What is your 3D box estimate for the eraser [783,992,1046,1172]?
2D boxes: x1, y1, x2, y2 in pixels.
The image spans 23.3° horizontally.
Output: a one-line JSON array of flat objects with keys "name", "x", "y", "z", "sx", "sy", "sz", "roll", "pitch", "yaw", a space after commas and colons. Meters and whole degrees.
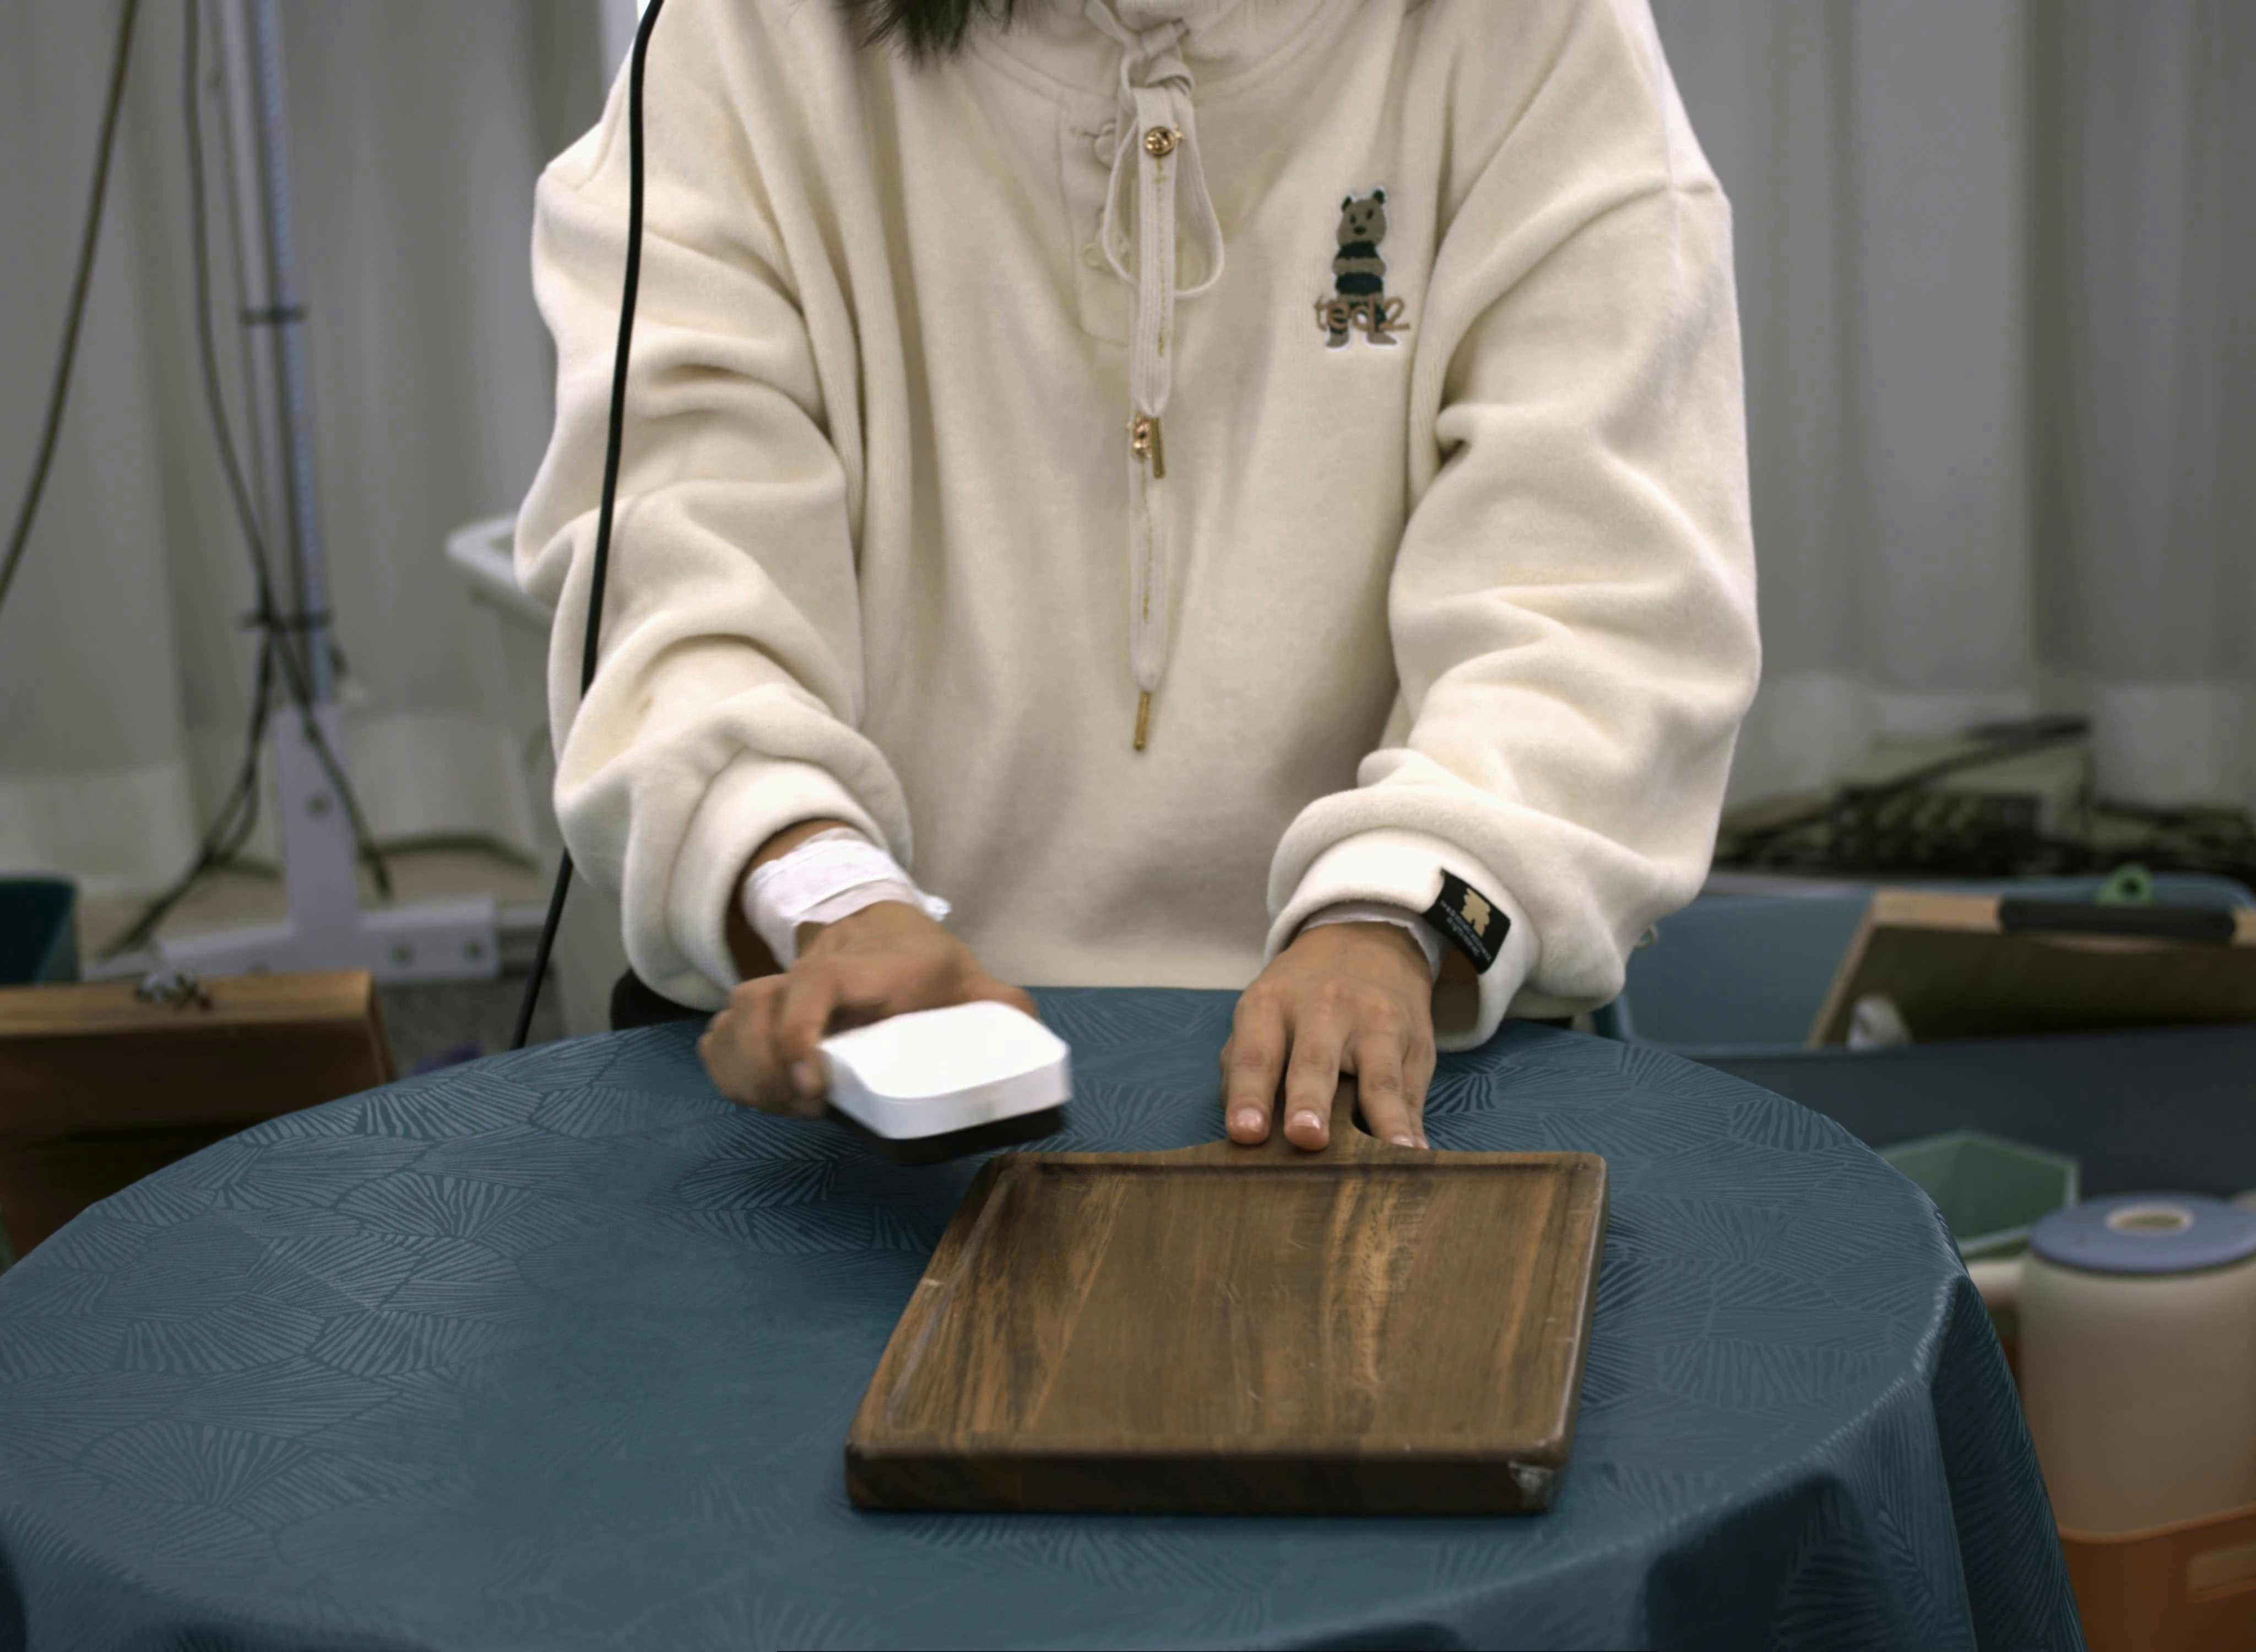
[{"name": "eraser", "x": -0.065, "y": 0.077, "z": 1.688, "sx": 0.063, "sy": 0.034, "sz": 0.132, "roll": -12, "pitch": 9, "yaw": -13}]

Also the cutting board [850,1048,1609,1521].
[{"name": "cutting board", "x": 0.042, "y": 0.129, "z": 1.612, "sx": 0.200, "sy": 0.023, "sz": 0.354, "roll": 0, "pitch": 15, "yaw": 8}]
